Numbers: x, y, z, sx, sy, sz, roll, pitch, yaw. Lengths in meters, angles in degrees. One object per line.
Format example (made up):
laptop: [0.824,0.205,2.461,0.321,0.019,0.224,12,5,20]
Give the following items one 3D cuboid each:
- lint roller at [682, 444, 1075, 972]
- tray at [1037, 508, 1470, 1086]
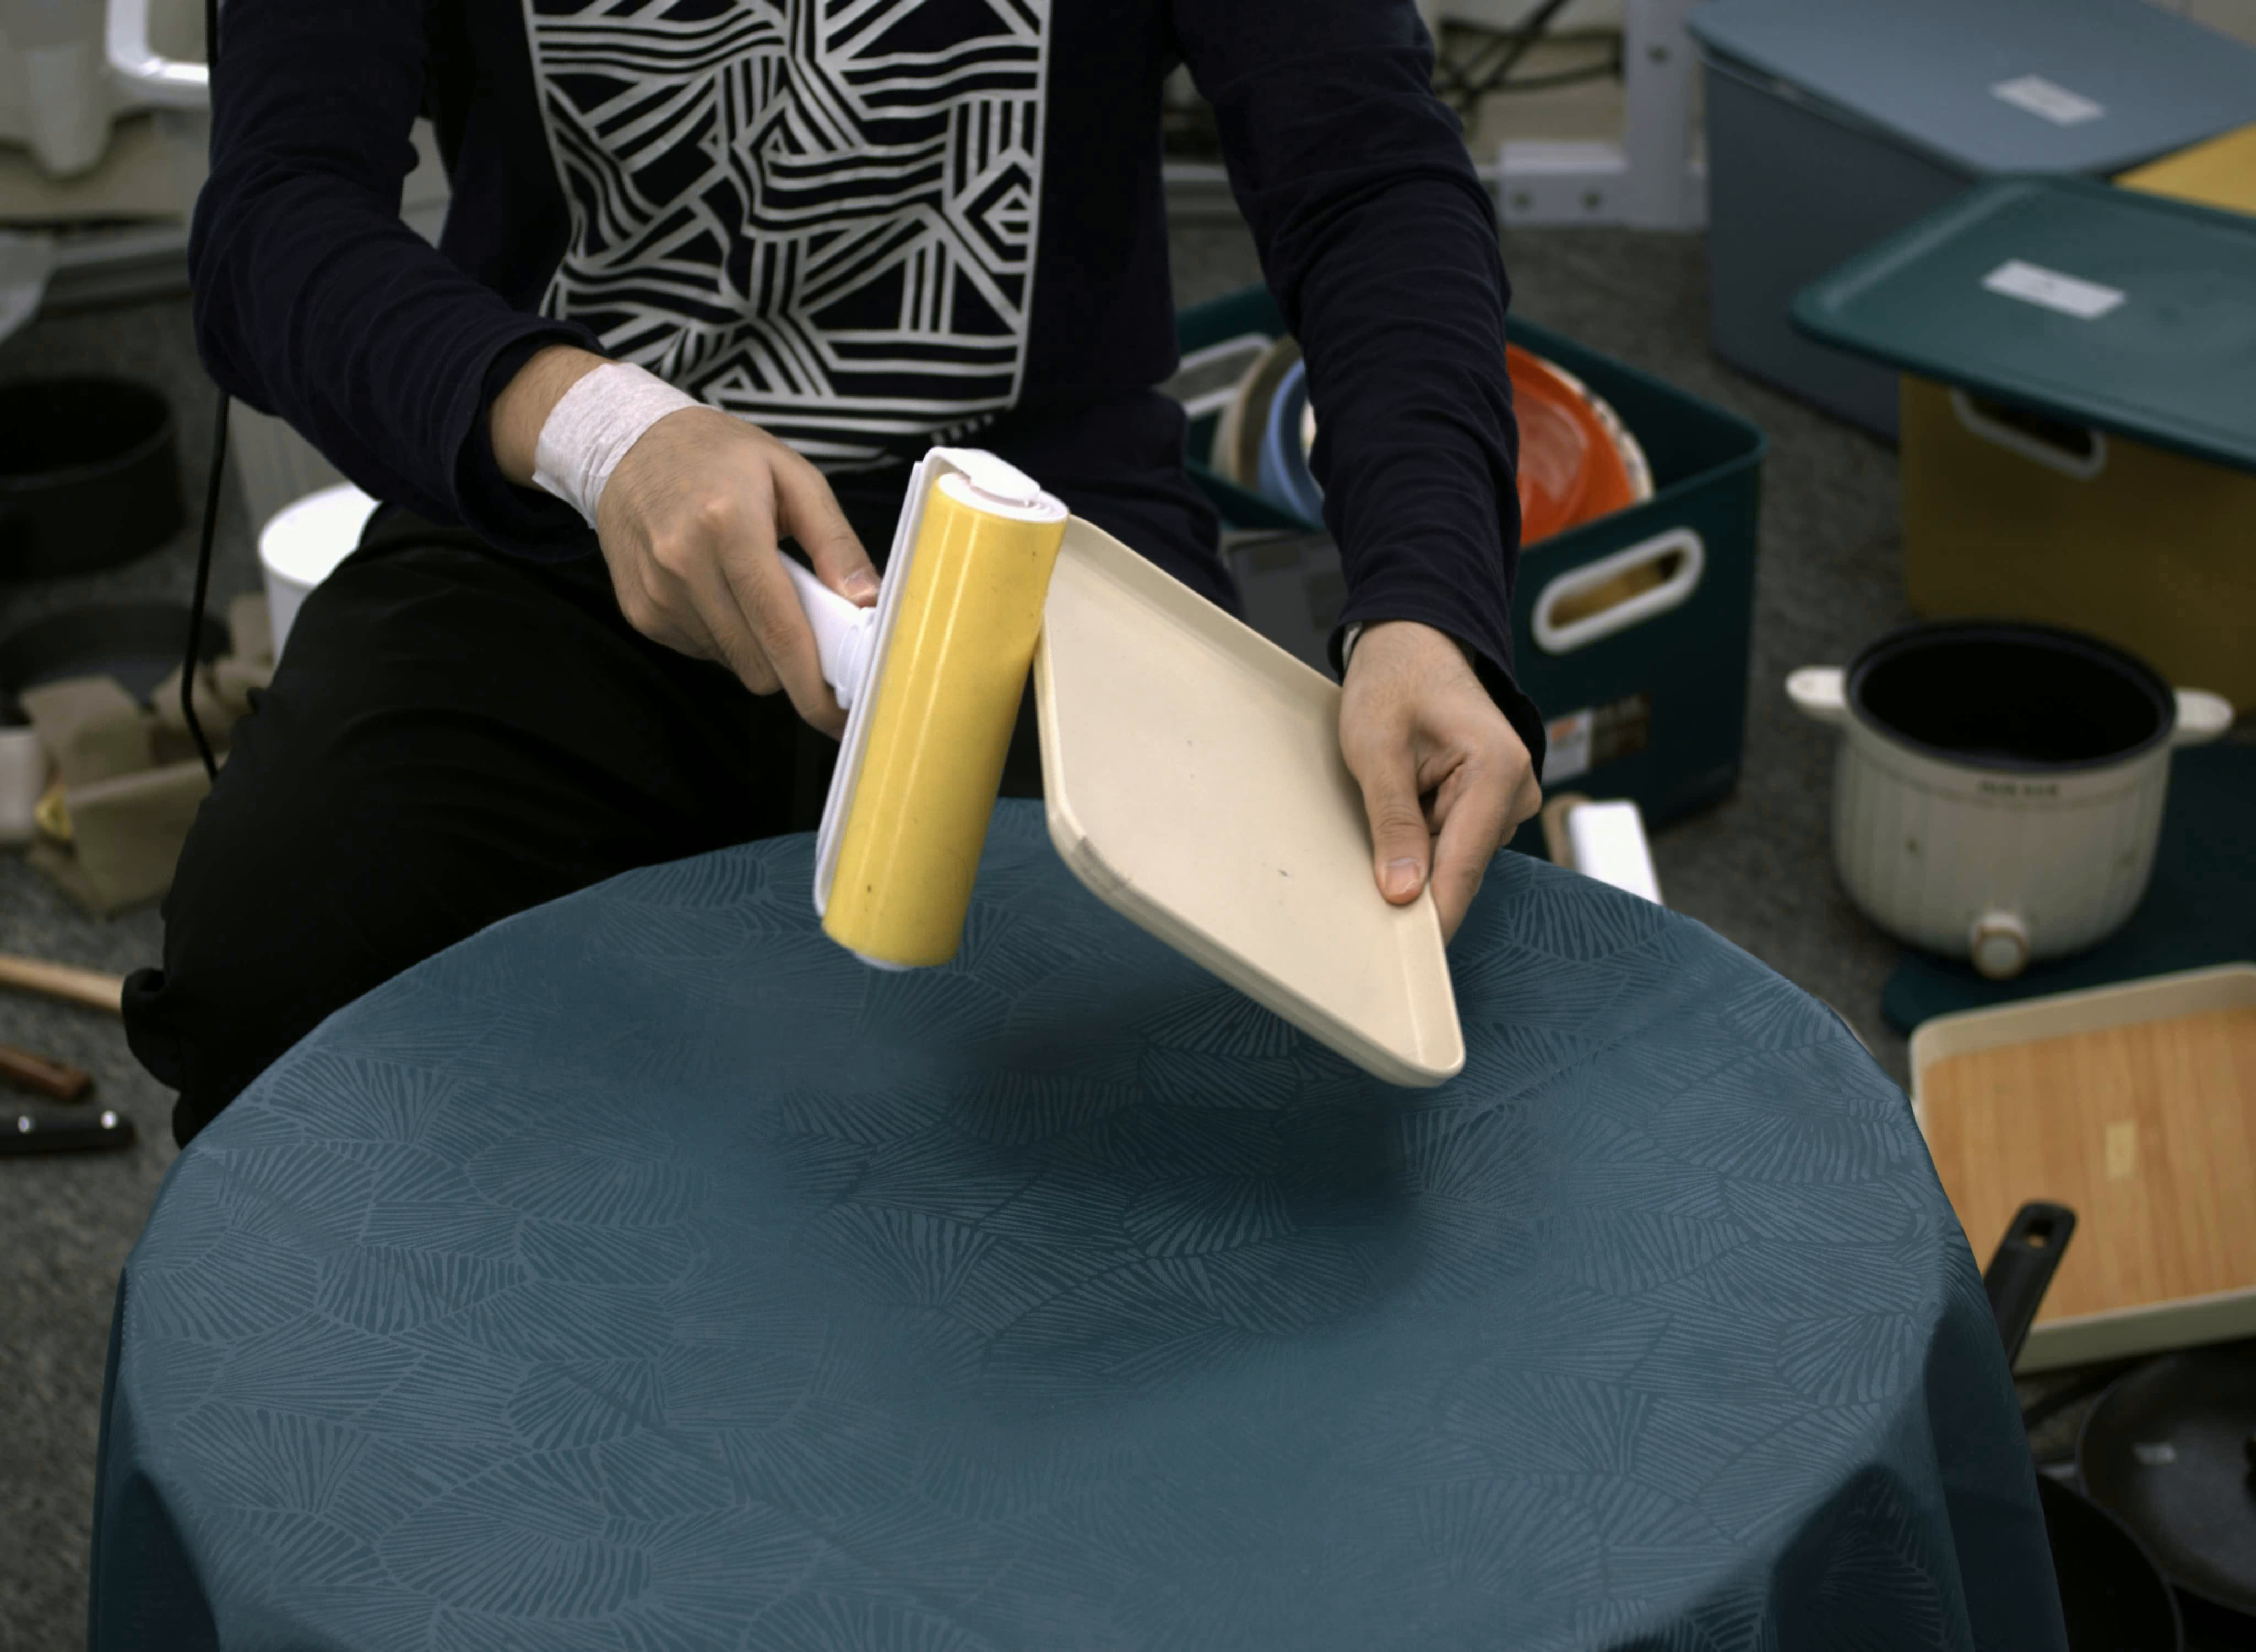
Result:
lint roller: [-0.105,-0.062,1.926,0.051,0.173,0.192,-1,21,-46]
tray: [0.036,-0.010,1.886,0.170,0.017,0.243,34,23,-21]
